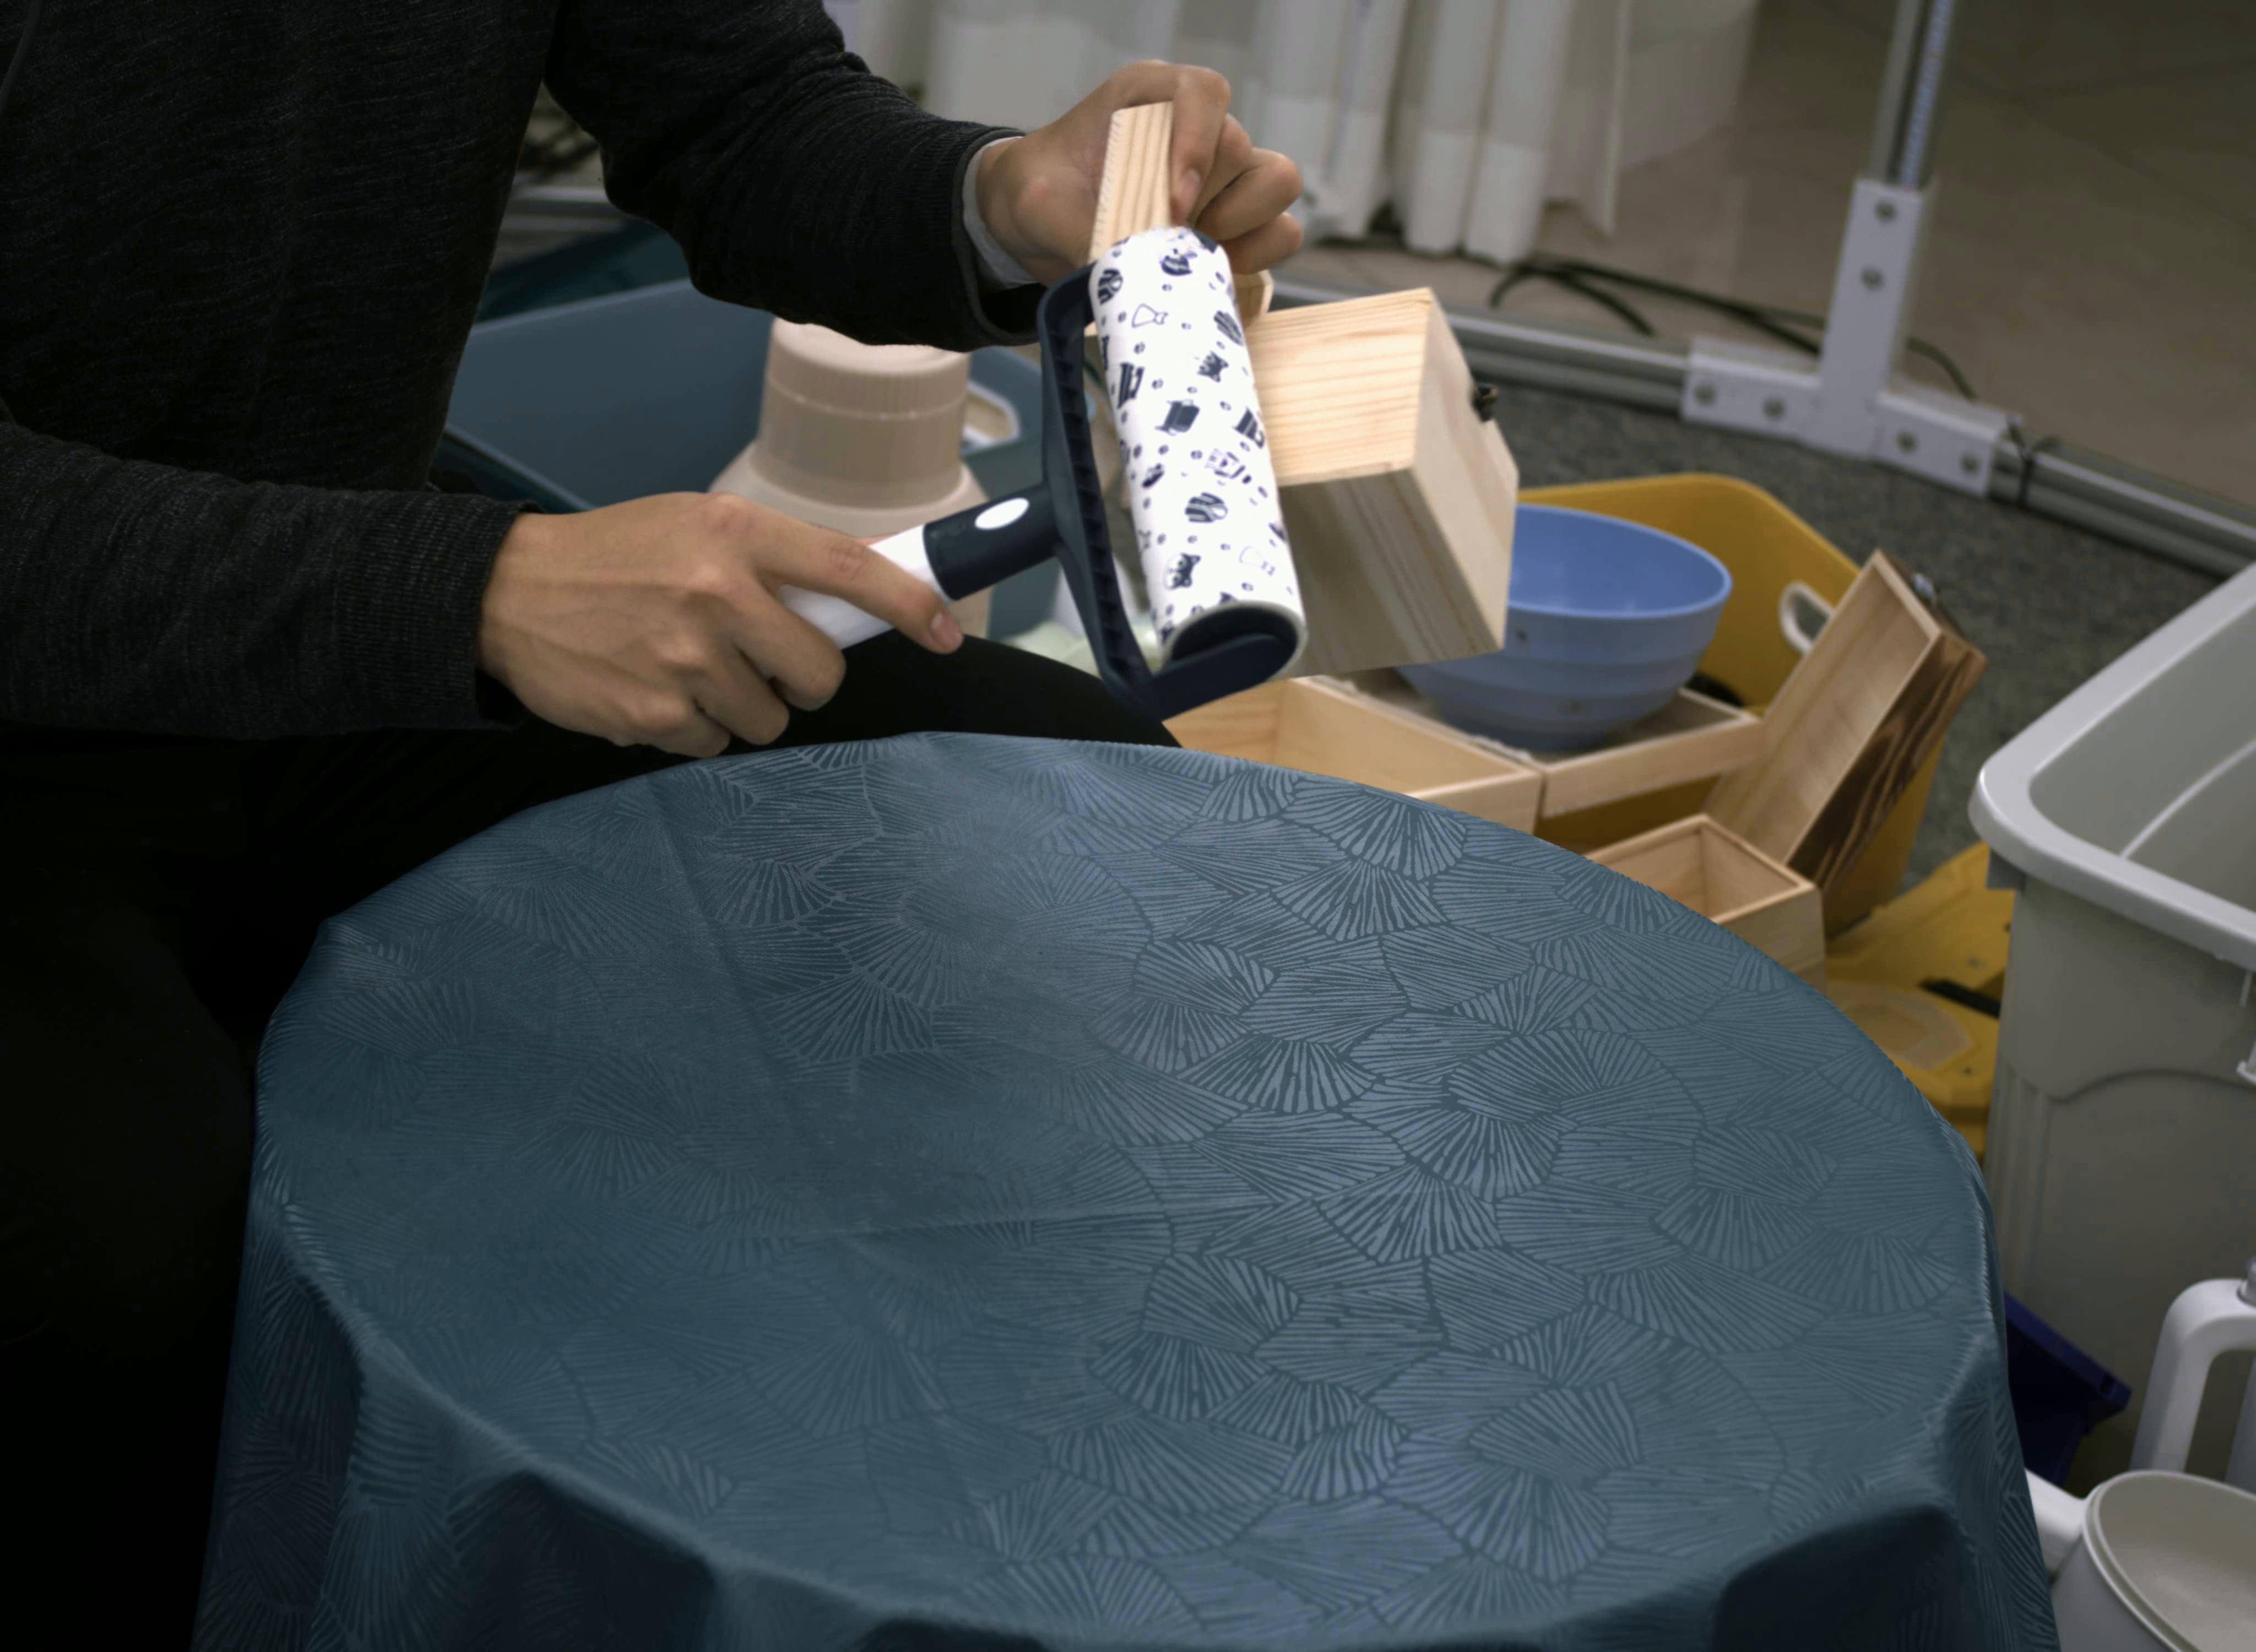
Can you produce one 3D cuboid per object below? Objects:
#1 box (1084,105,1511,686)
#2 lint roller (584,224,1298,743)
[{"bbox_3d":[0.060,-0.154,1.810,0.134,0.102,0.186,-7,51,20],"label":"box"},{"bbox_3d":[-0.070,-0.084,1.729,0.247,0.050,0.178,-21,52,14],"label":"lint roller"}]
